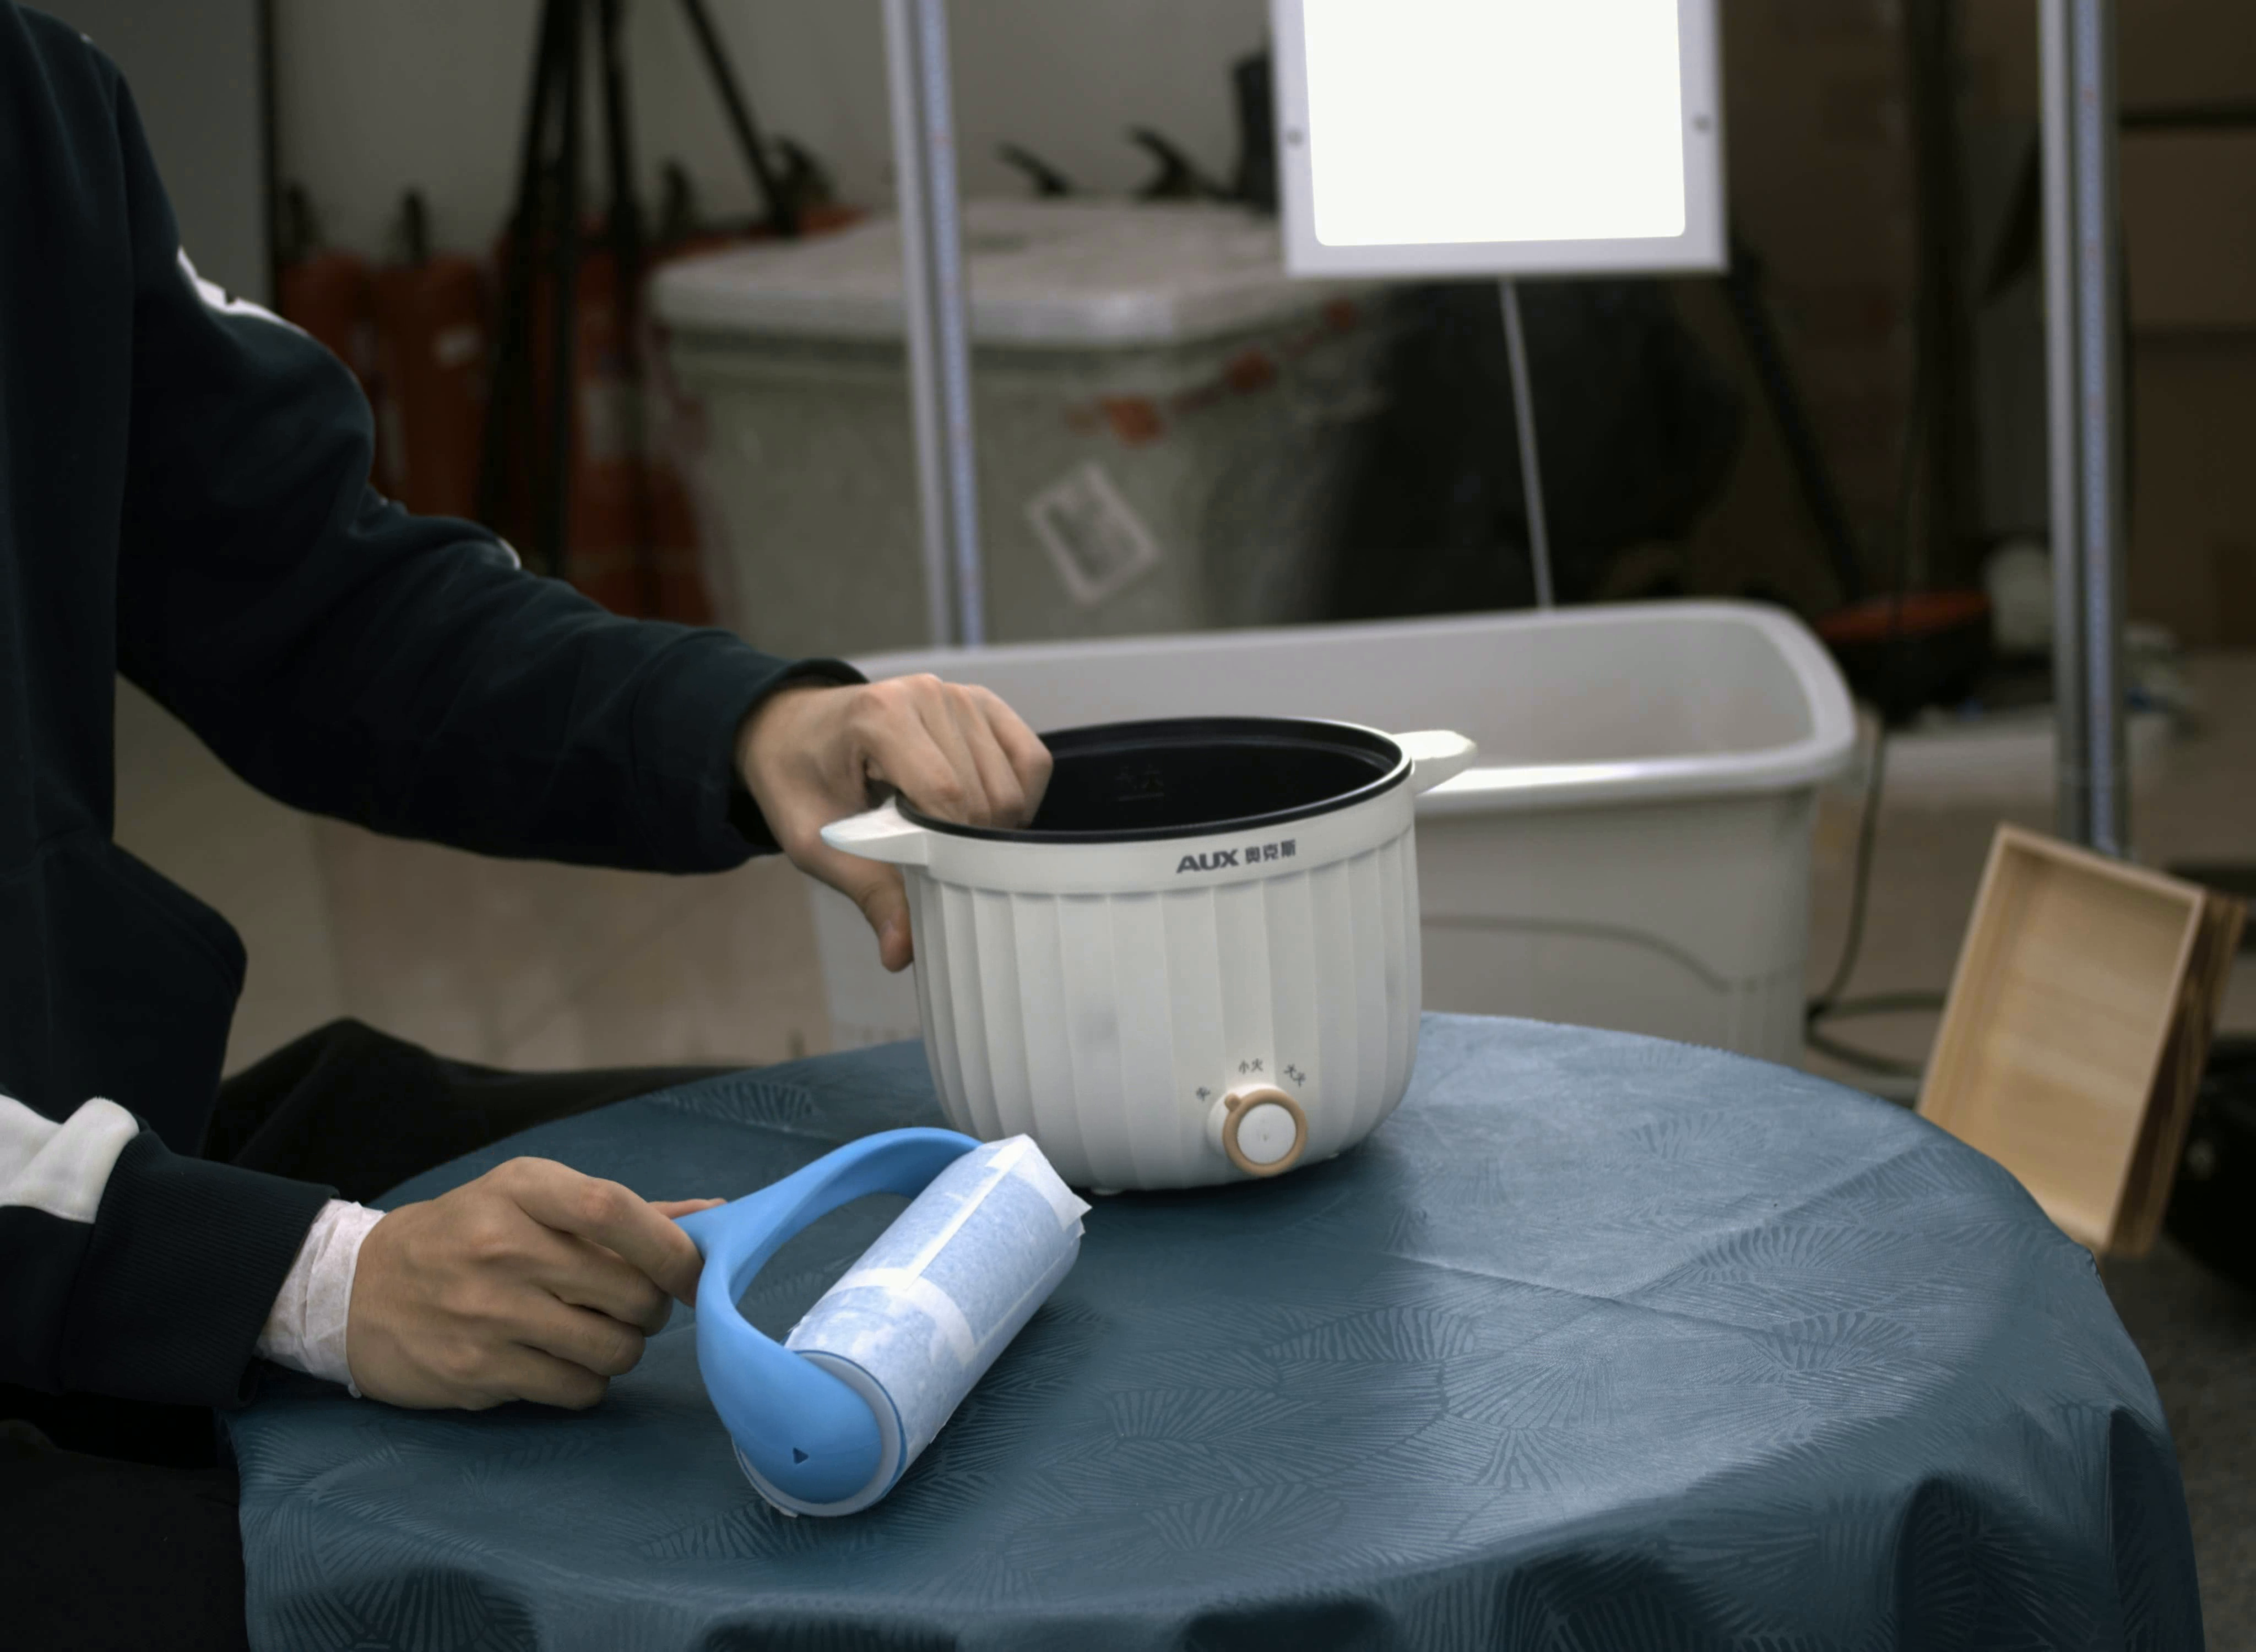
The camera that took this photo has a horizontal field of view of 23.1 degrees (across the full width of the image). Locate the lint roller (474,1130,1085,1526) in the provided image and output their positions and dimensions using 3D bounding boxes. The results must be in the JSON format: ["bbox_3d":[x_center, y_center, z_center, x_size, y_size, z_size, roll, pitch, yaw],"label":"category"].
[{"bbox_3d":[-0.120,0.153,1.712,0.182,0.068,0.226,0,17,13],"label":"lint roller"}]

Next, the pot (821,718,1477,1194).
[{"bbox_3d":[0.017,0.046,1.918,0.237,0.143,0.192,-10,10,-15],"label":"pot"}]
